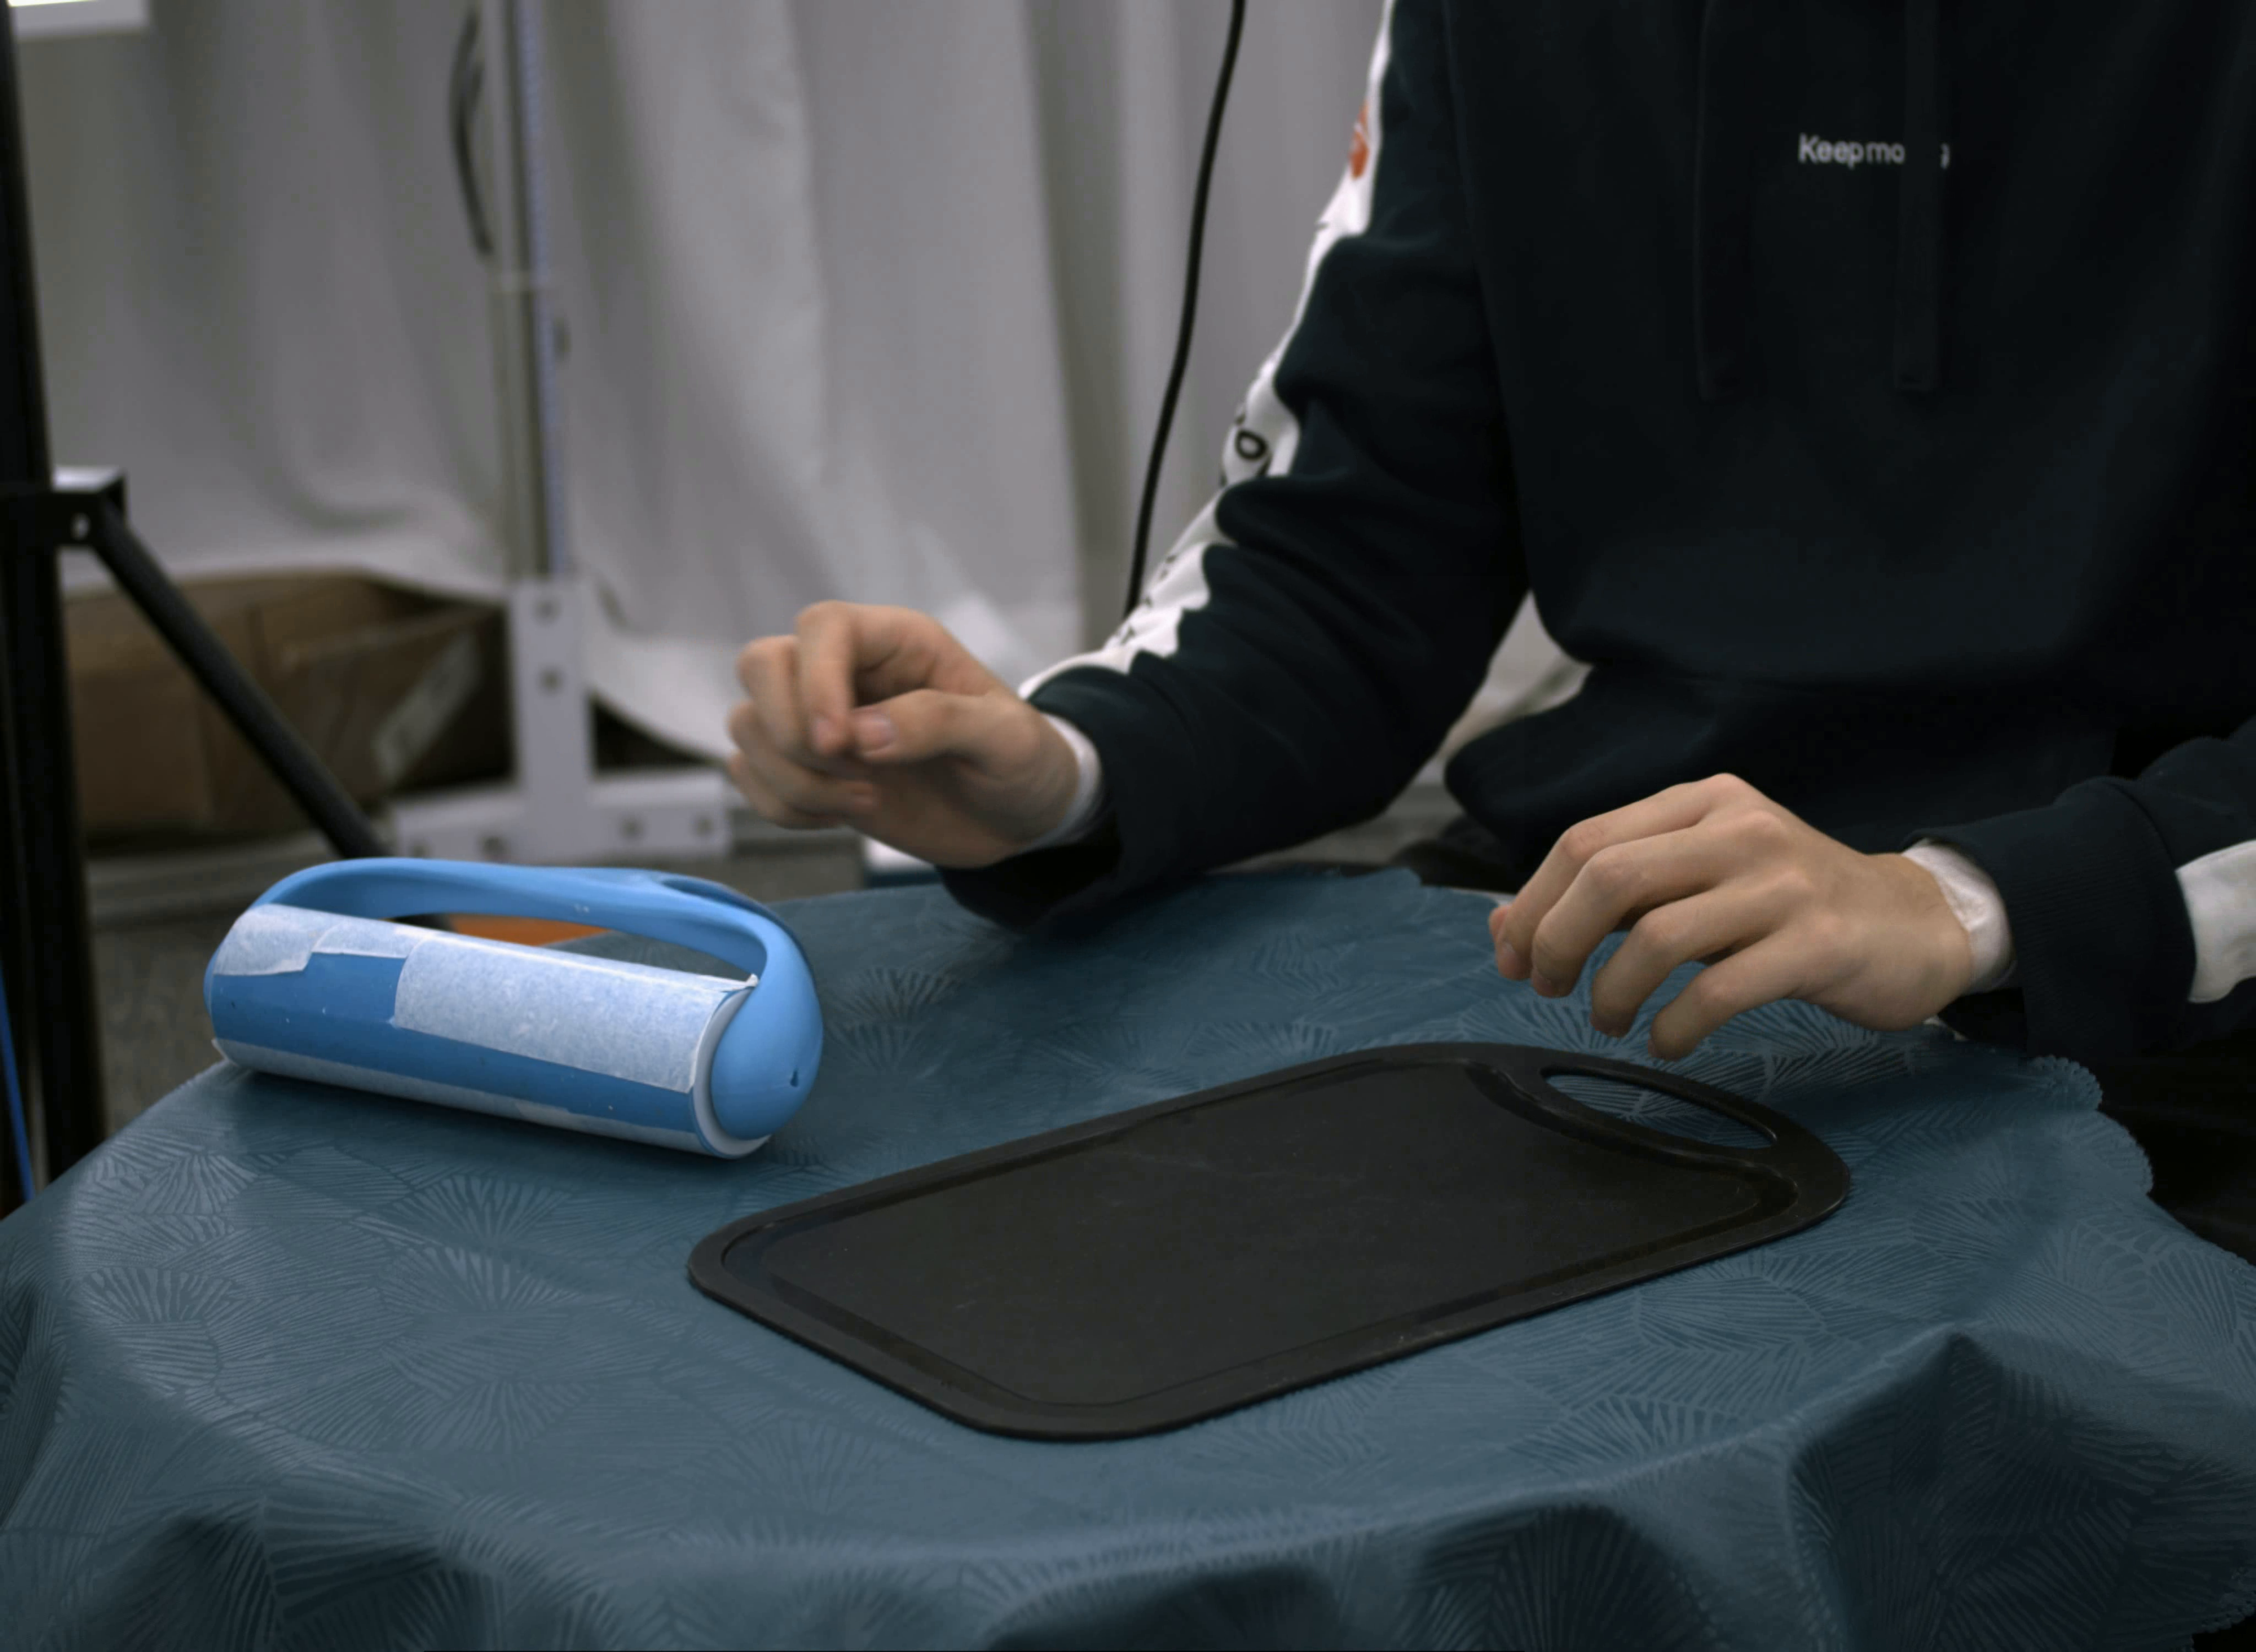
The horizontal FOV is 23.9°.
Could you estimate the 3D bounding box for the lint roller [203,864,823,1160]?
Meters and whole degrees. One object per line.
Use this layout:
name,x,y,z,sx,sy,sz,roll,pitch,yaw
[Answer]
lint roller,-0.165,0.046,1.700,0.233,0.068,0.177,5,19,31

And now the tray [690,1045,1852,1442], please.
tray,0.049,0.112,1.525,0.318,0.010,0.216,-13,19,-32
